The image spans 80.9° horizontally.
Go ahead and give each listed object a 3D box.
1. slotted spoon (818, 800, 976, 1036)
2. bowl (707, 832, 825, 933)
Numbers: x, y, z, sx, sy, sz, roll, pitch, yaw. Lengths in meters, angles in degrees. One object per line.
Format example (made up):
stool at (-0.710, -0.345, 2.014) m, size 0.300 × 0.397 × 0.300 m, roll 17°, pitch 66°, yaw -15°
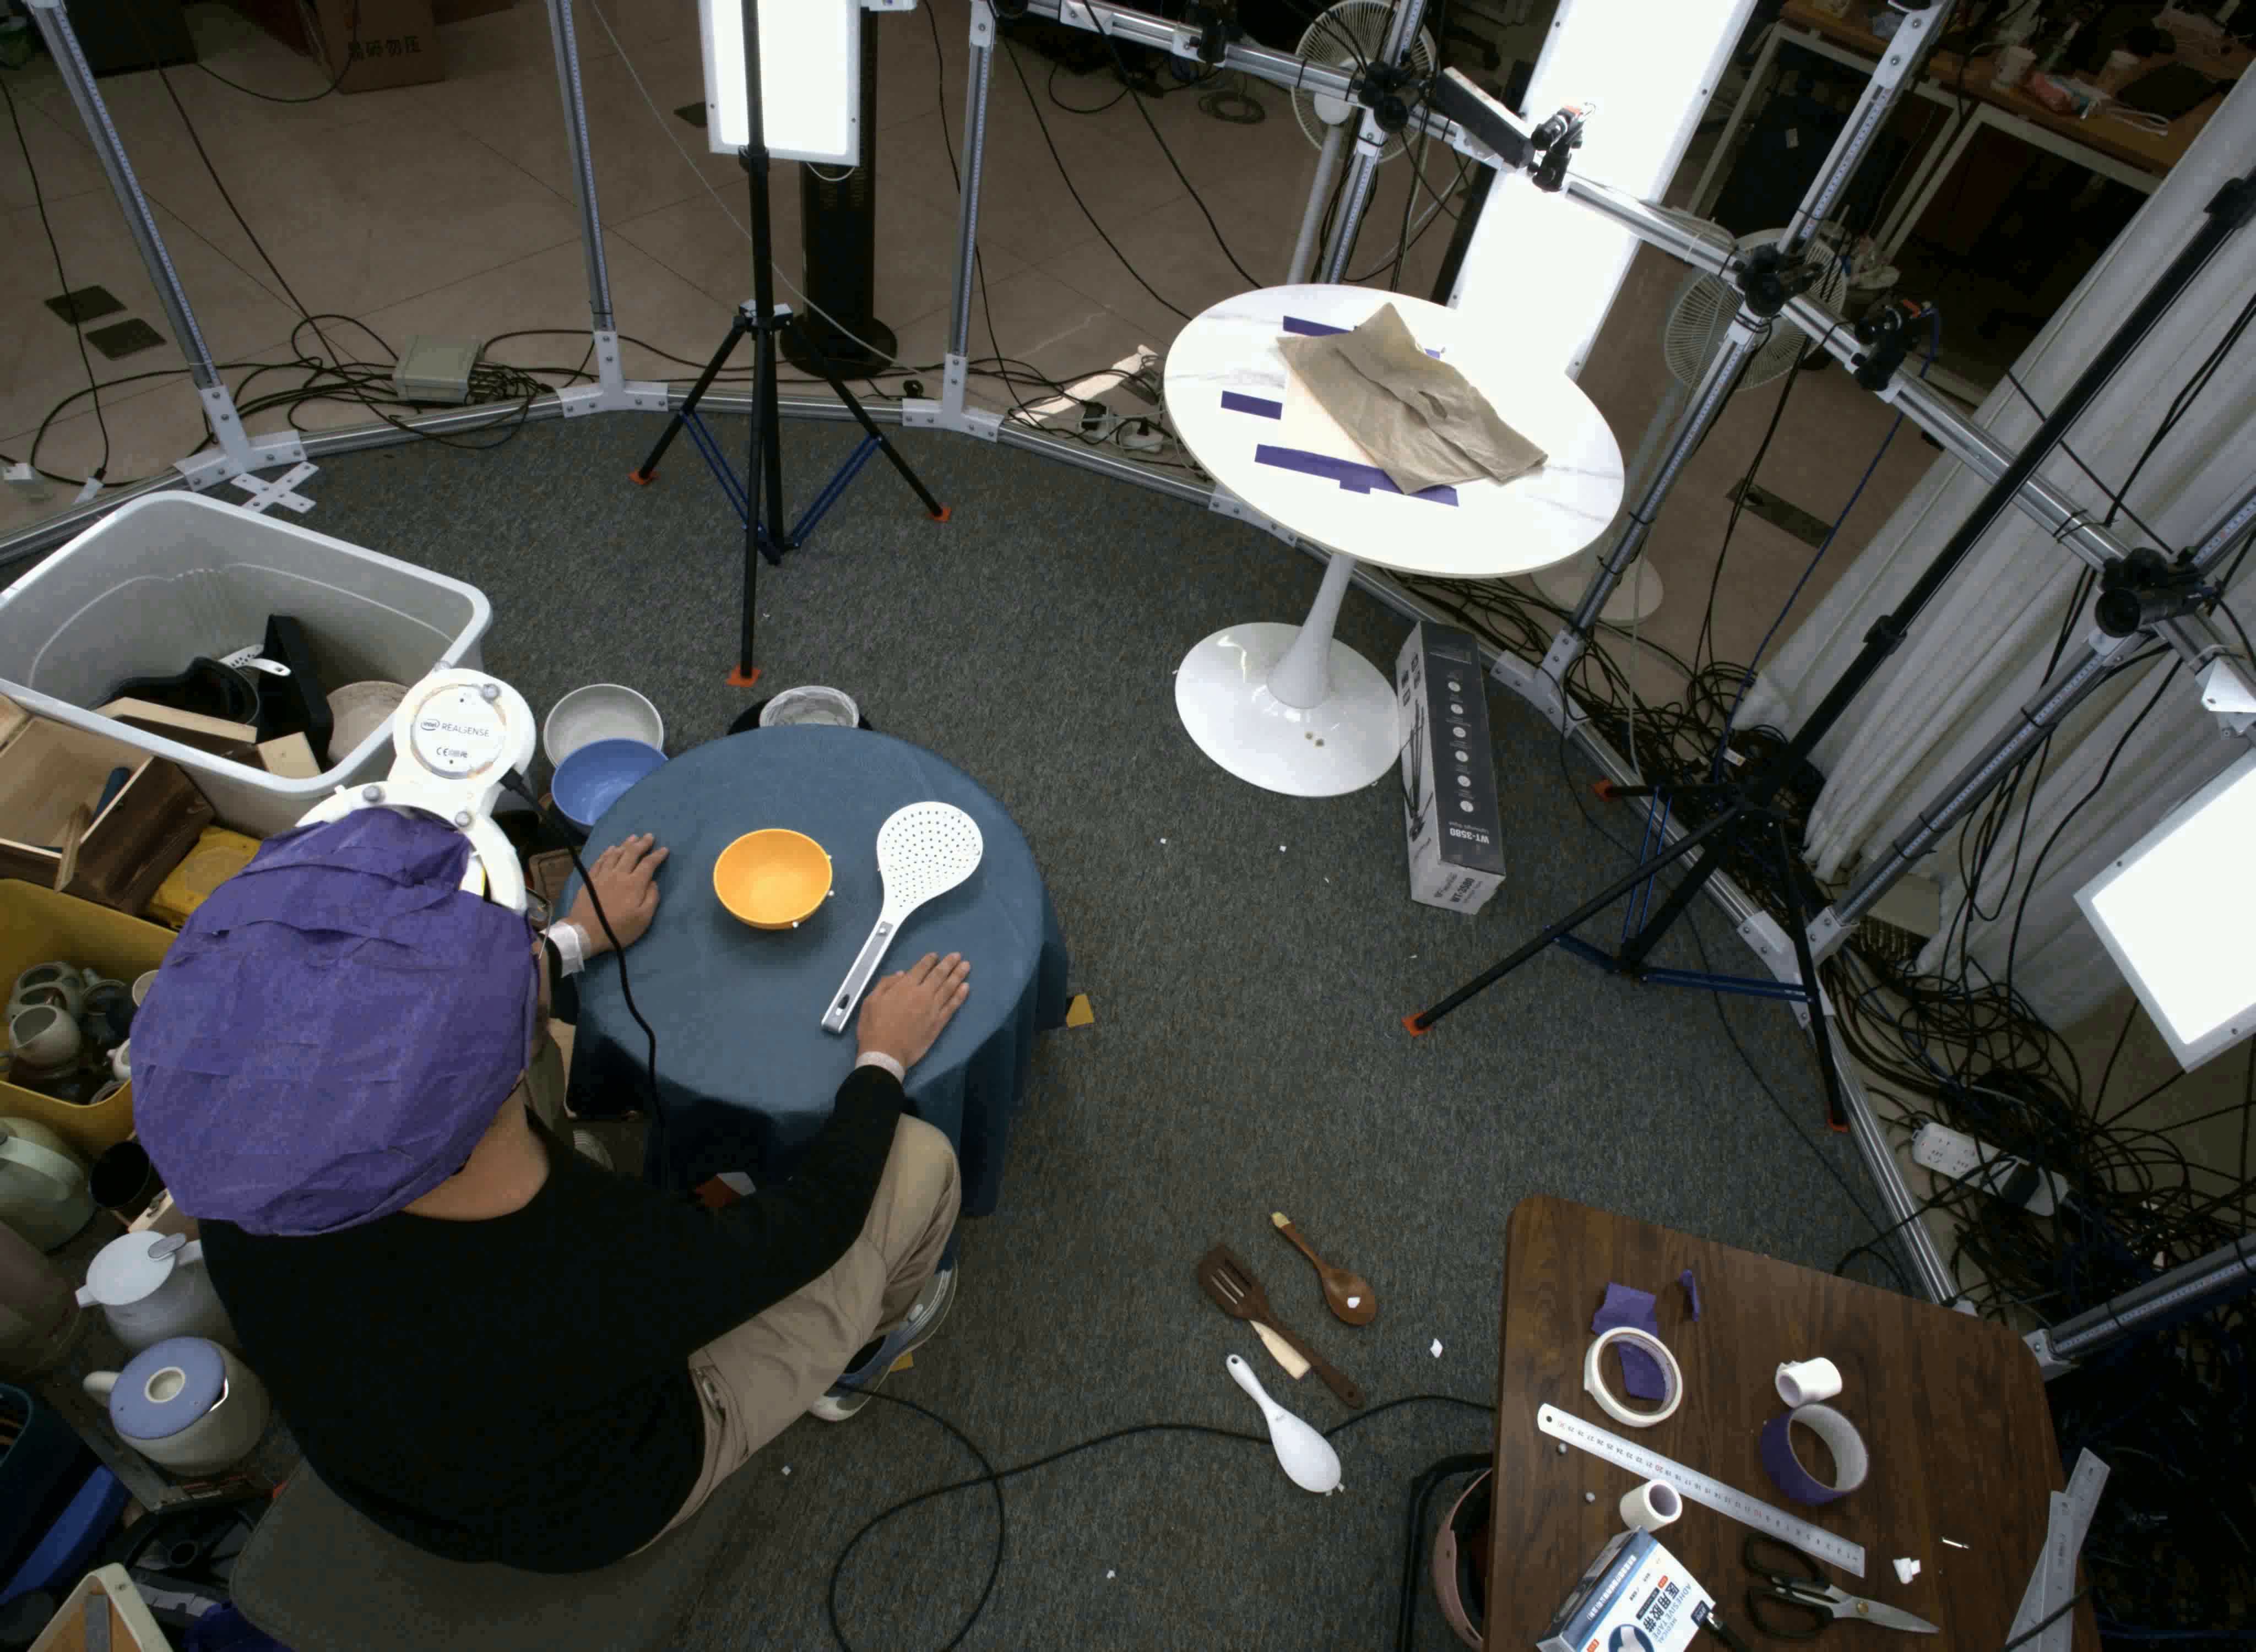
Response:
slotted spoon at (-0.301, 0.109, 1.640) m, size 0.134 × 0.046 × 0.346 m, roll 21°, pitch 52°, yaw 3°
bowl at (-0.450, 0.080, 1.617) m, size 0.145 × 0.061 × 0.142 m, roll 7°, pitch 51°, yaw -7°
